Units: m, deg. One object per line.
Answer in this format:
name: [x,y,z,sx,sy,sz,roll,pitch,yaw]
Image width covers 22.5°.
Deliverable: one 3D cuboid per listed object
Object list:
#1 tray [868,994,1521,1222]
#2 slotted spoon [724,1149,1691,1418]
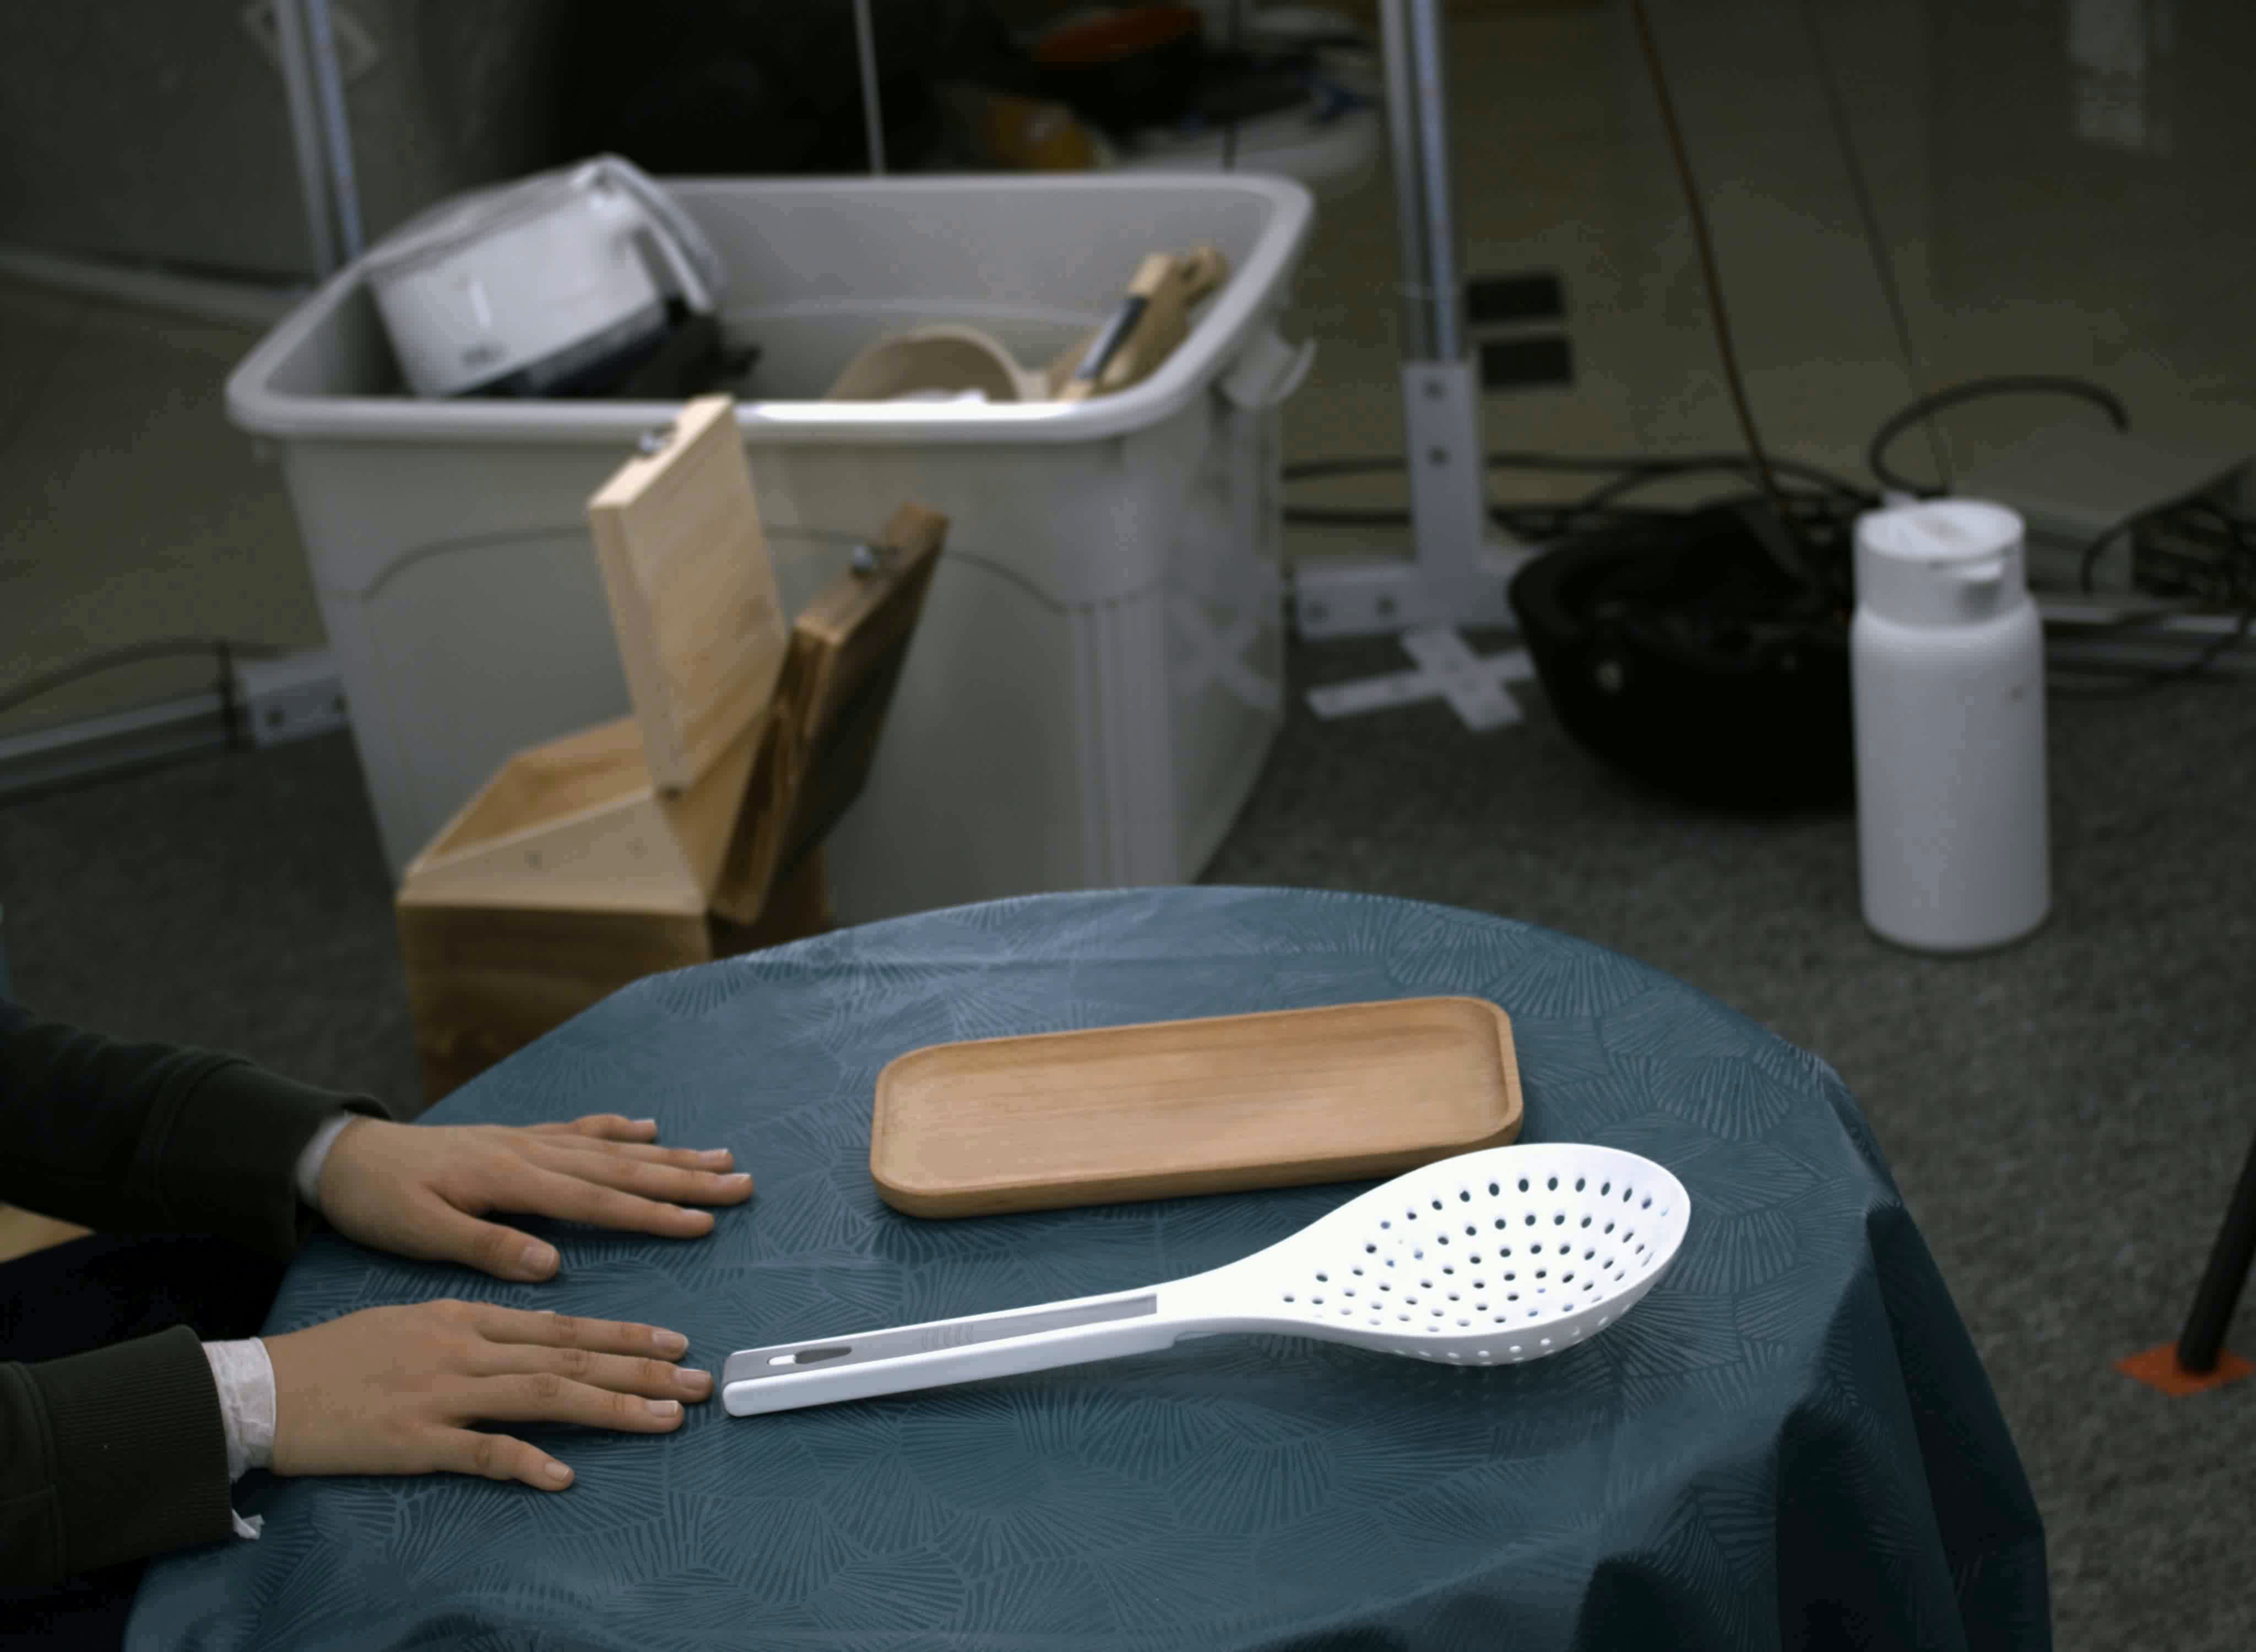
tray: [0.025,0.109,2.191,0.250,0.023,0.129,-6,23,3]
slotted spoon: [0.027,0.172,2.021,0.349,0.046,0.134,-6,23,3]
